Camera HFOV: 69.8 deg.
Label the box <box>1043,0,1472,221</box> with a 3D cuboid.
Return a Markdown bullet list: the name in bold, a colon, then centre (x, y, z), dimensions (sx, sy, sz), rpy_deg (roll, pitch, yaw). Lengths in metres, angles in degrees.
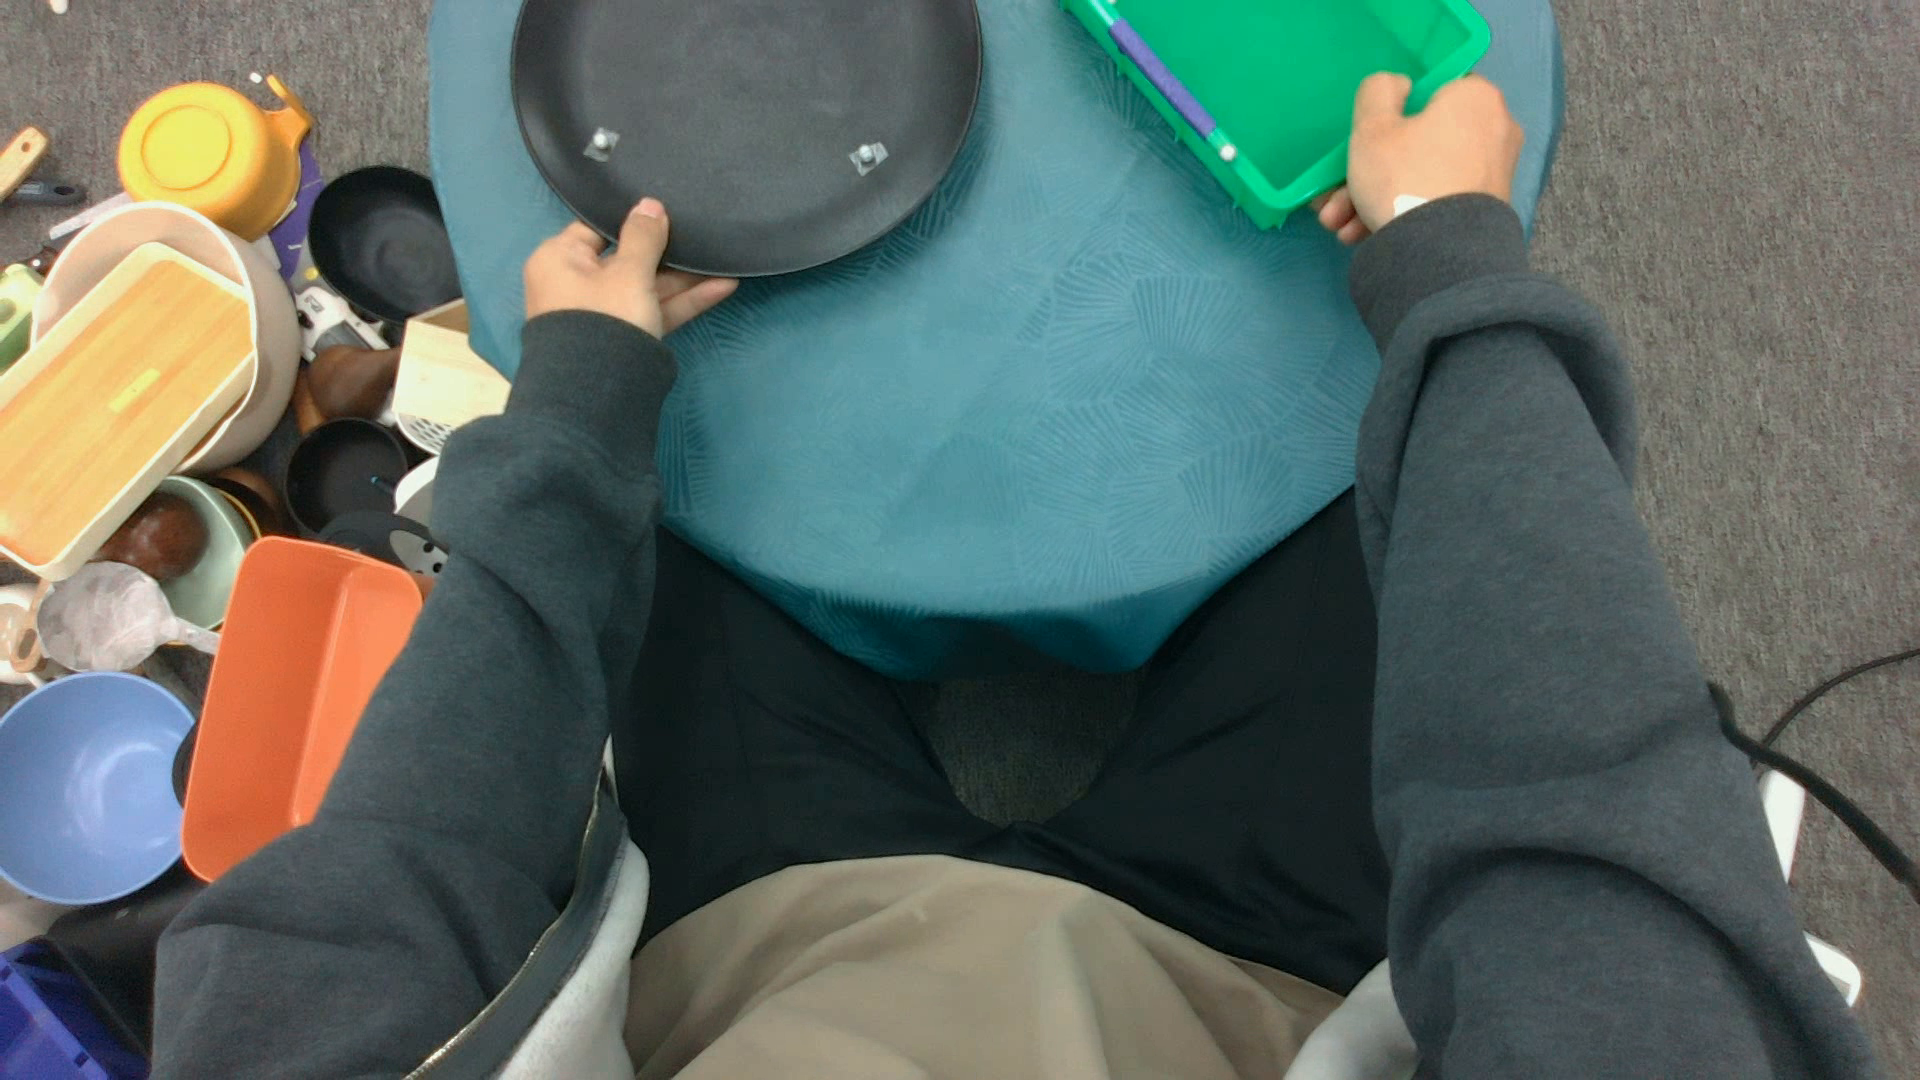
- **box**: centre (0.137, -0.273, 0.699), dimensions (0.138, 0.065, 0.210), rpy_deg (-41, 85, 1)

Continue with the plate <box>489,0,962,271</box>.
- **plate**: centre (-0.120, -0.250, 0.720), dimensions (0.244, 0.023, 0.245), rpy_deg (0, 77, 0)
